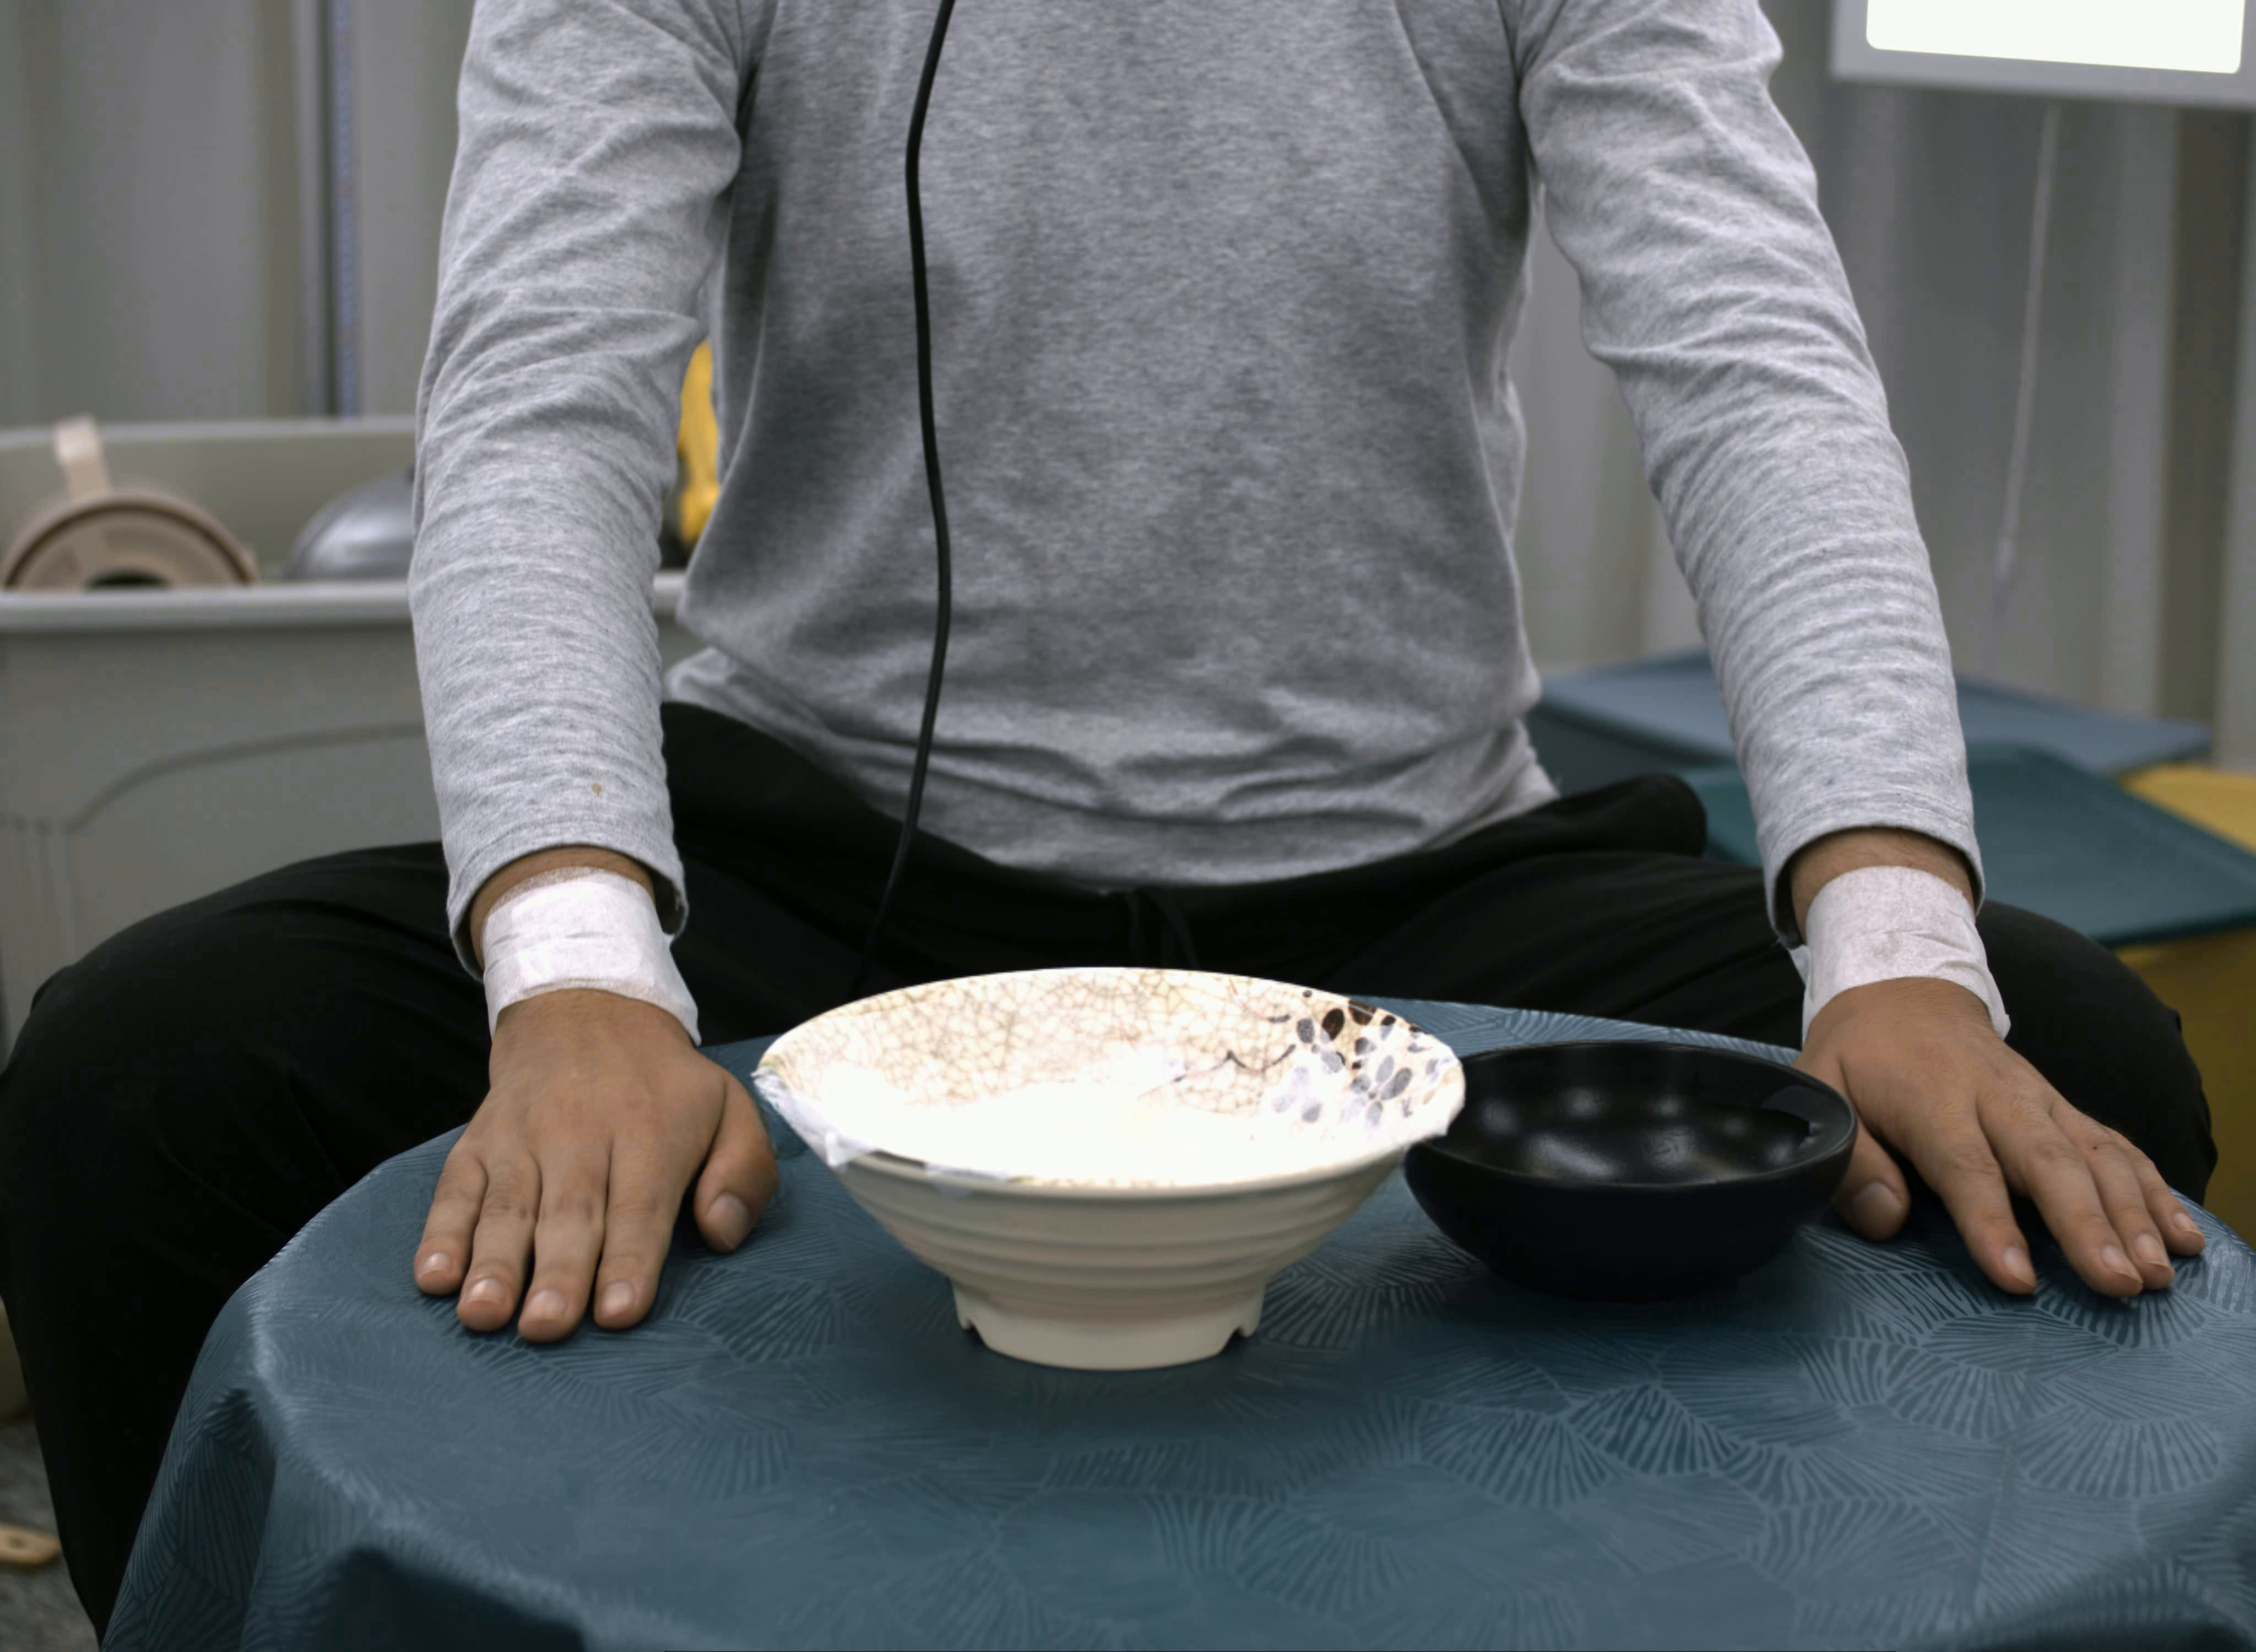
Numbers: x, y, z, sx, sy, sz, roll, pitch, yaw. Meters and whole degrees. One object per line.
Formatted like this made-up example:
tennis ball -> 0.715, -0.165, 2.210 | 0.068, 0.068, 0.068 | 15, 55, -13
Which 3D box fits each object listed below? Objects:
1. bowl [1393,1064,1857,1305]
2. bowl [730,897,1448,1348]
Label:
bowl -> 0.145, 0.109, 1.561 | 0.139, 0.050, 0.139 | 2, 10, 0
bowl -> -0.013, 0.095, 1.500 | 0.203, 0.078, 0.202 | 4, 22, -1
